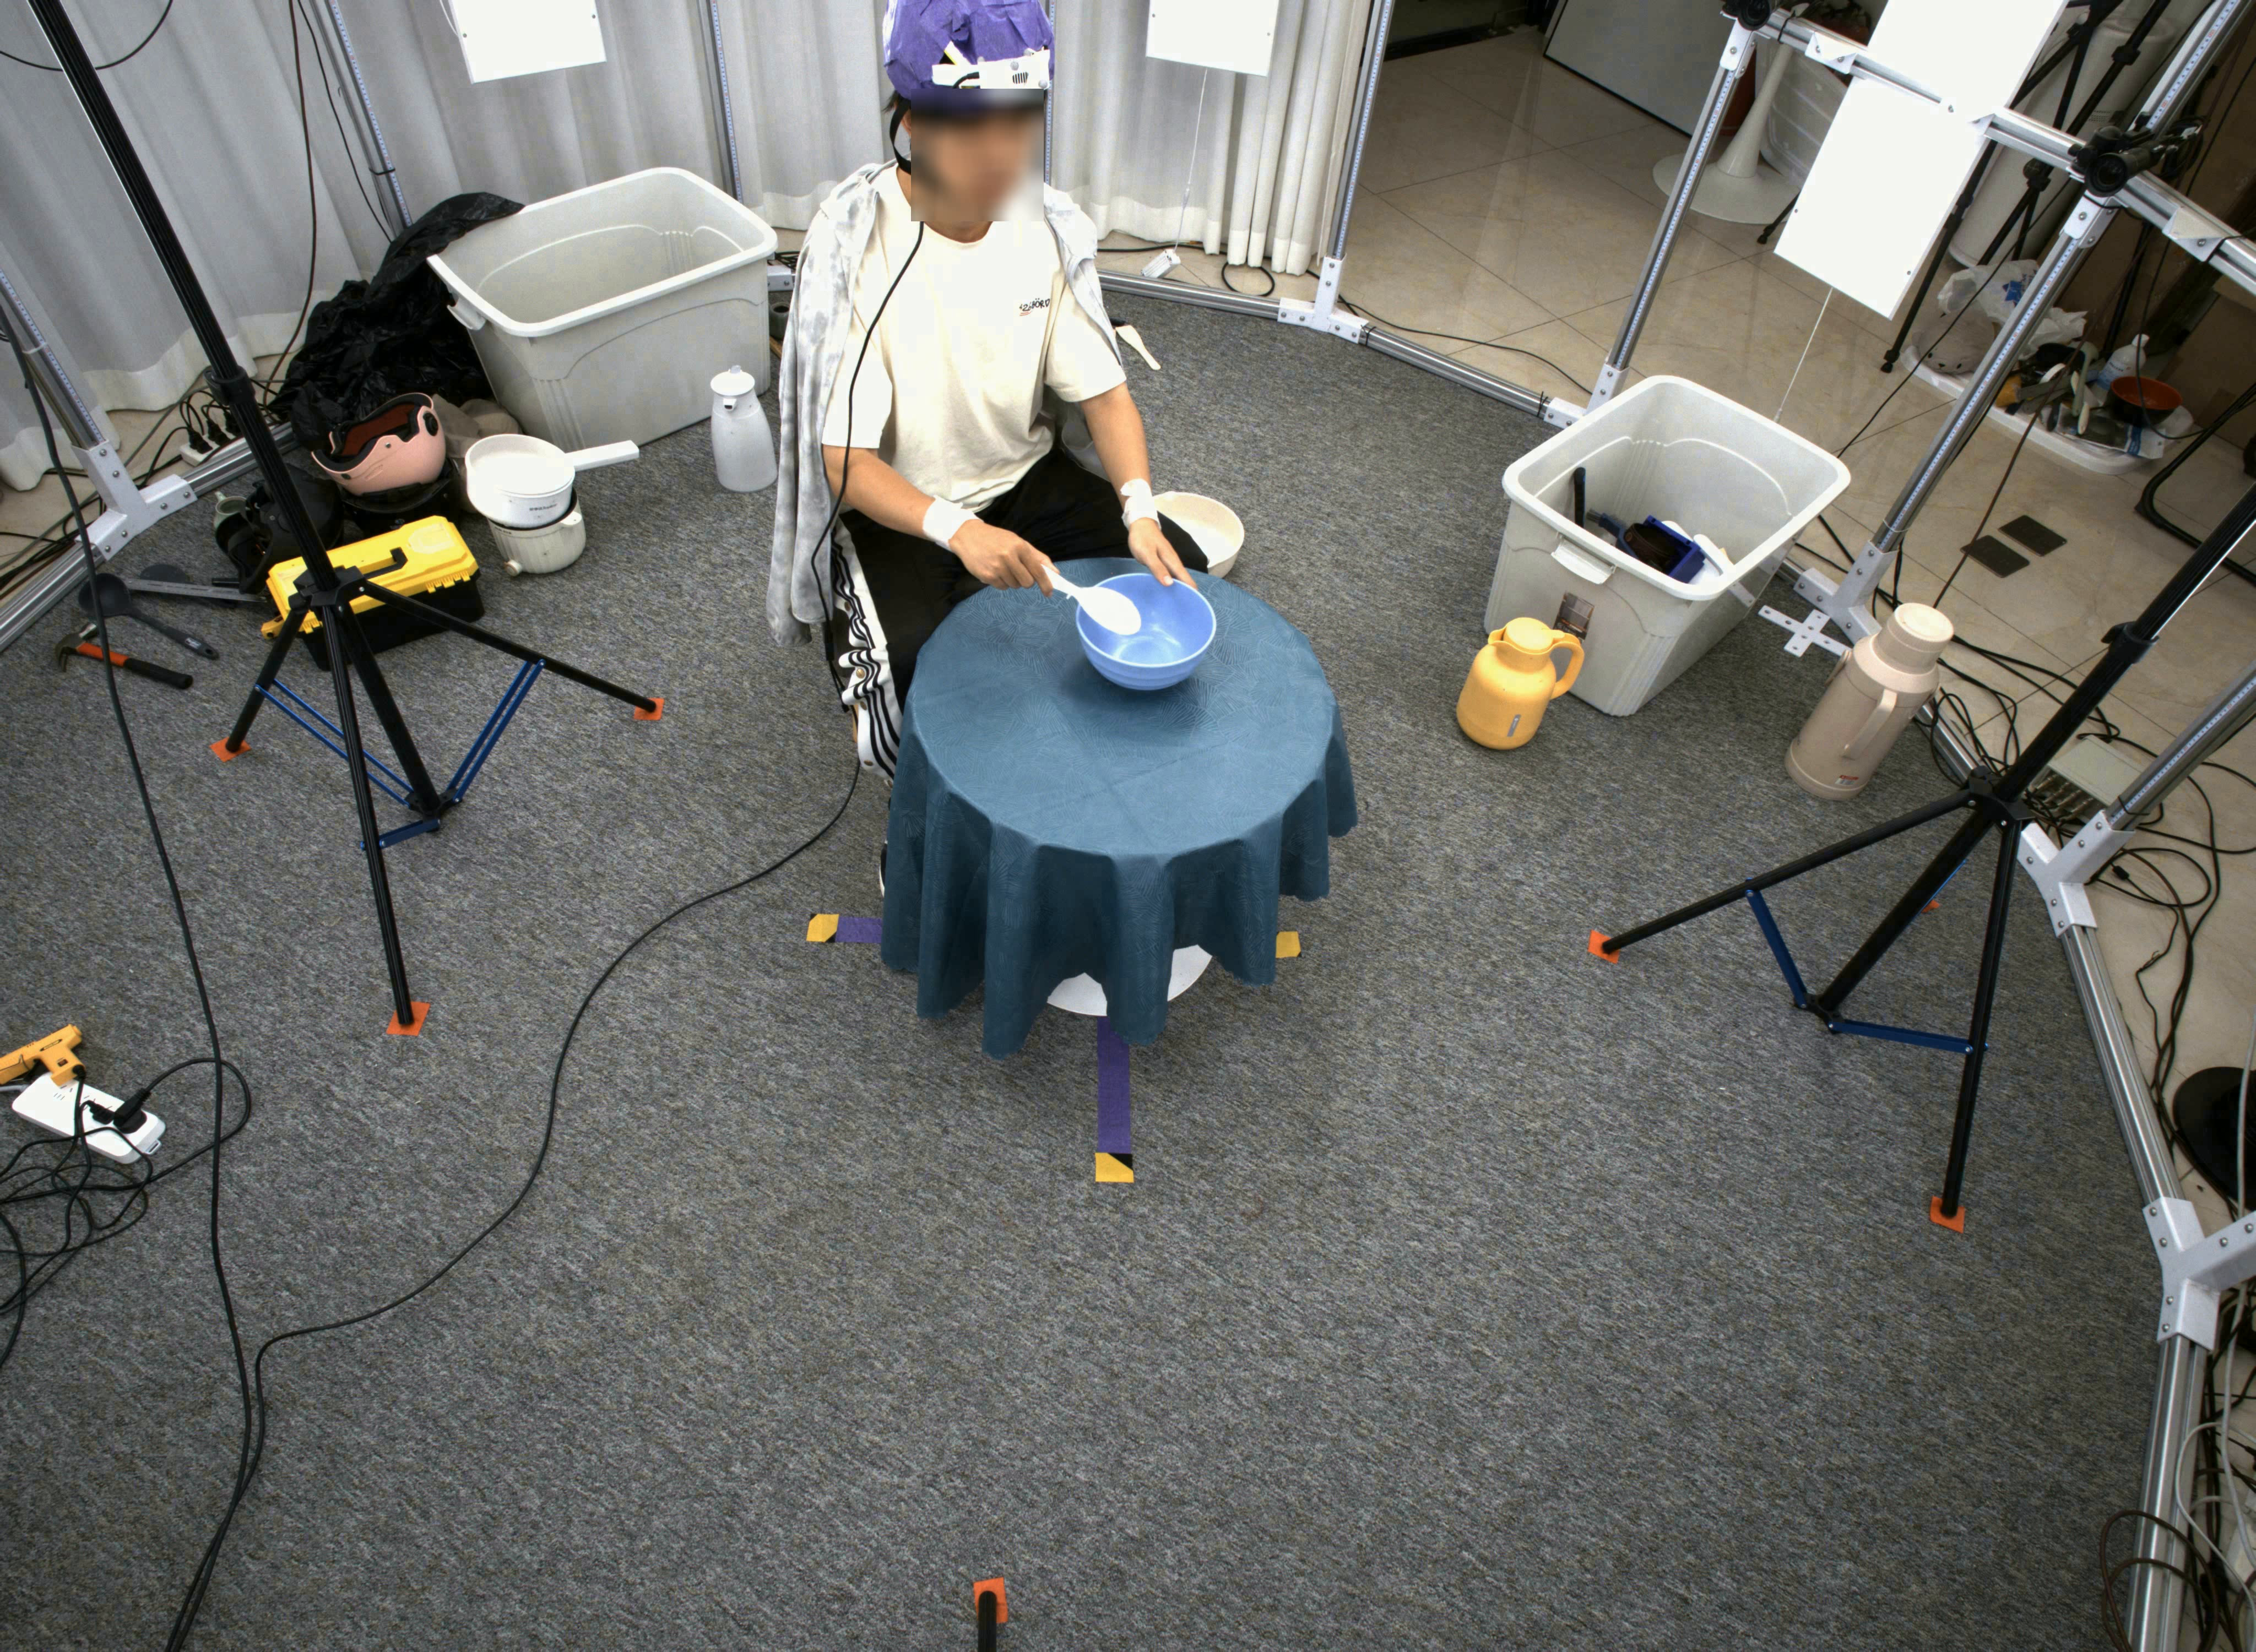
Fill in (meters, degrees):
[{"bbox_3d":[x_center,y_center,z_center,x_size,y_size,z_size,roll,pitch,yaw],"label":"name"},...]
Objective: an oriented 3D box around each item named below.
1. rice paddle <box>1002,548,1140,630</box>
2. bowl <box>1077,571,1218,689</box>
[{"bbox_3d":[-0.074,-0.325,1.767,0.204,0.029,0.070,23,55,-14],"label":"rice paddle"},{"bbox_3d":[0.025,-0.264,1.829,0.196,0.093,0.201,2,50,-2],"label":"bowl"}]
